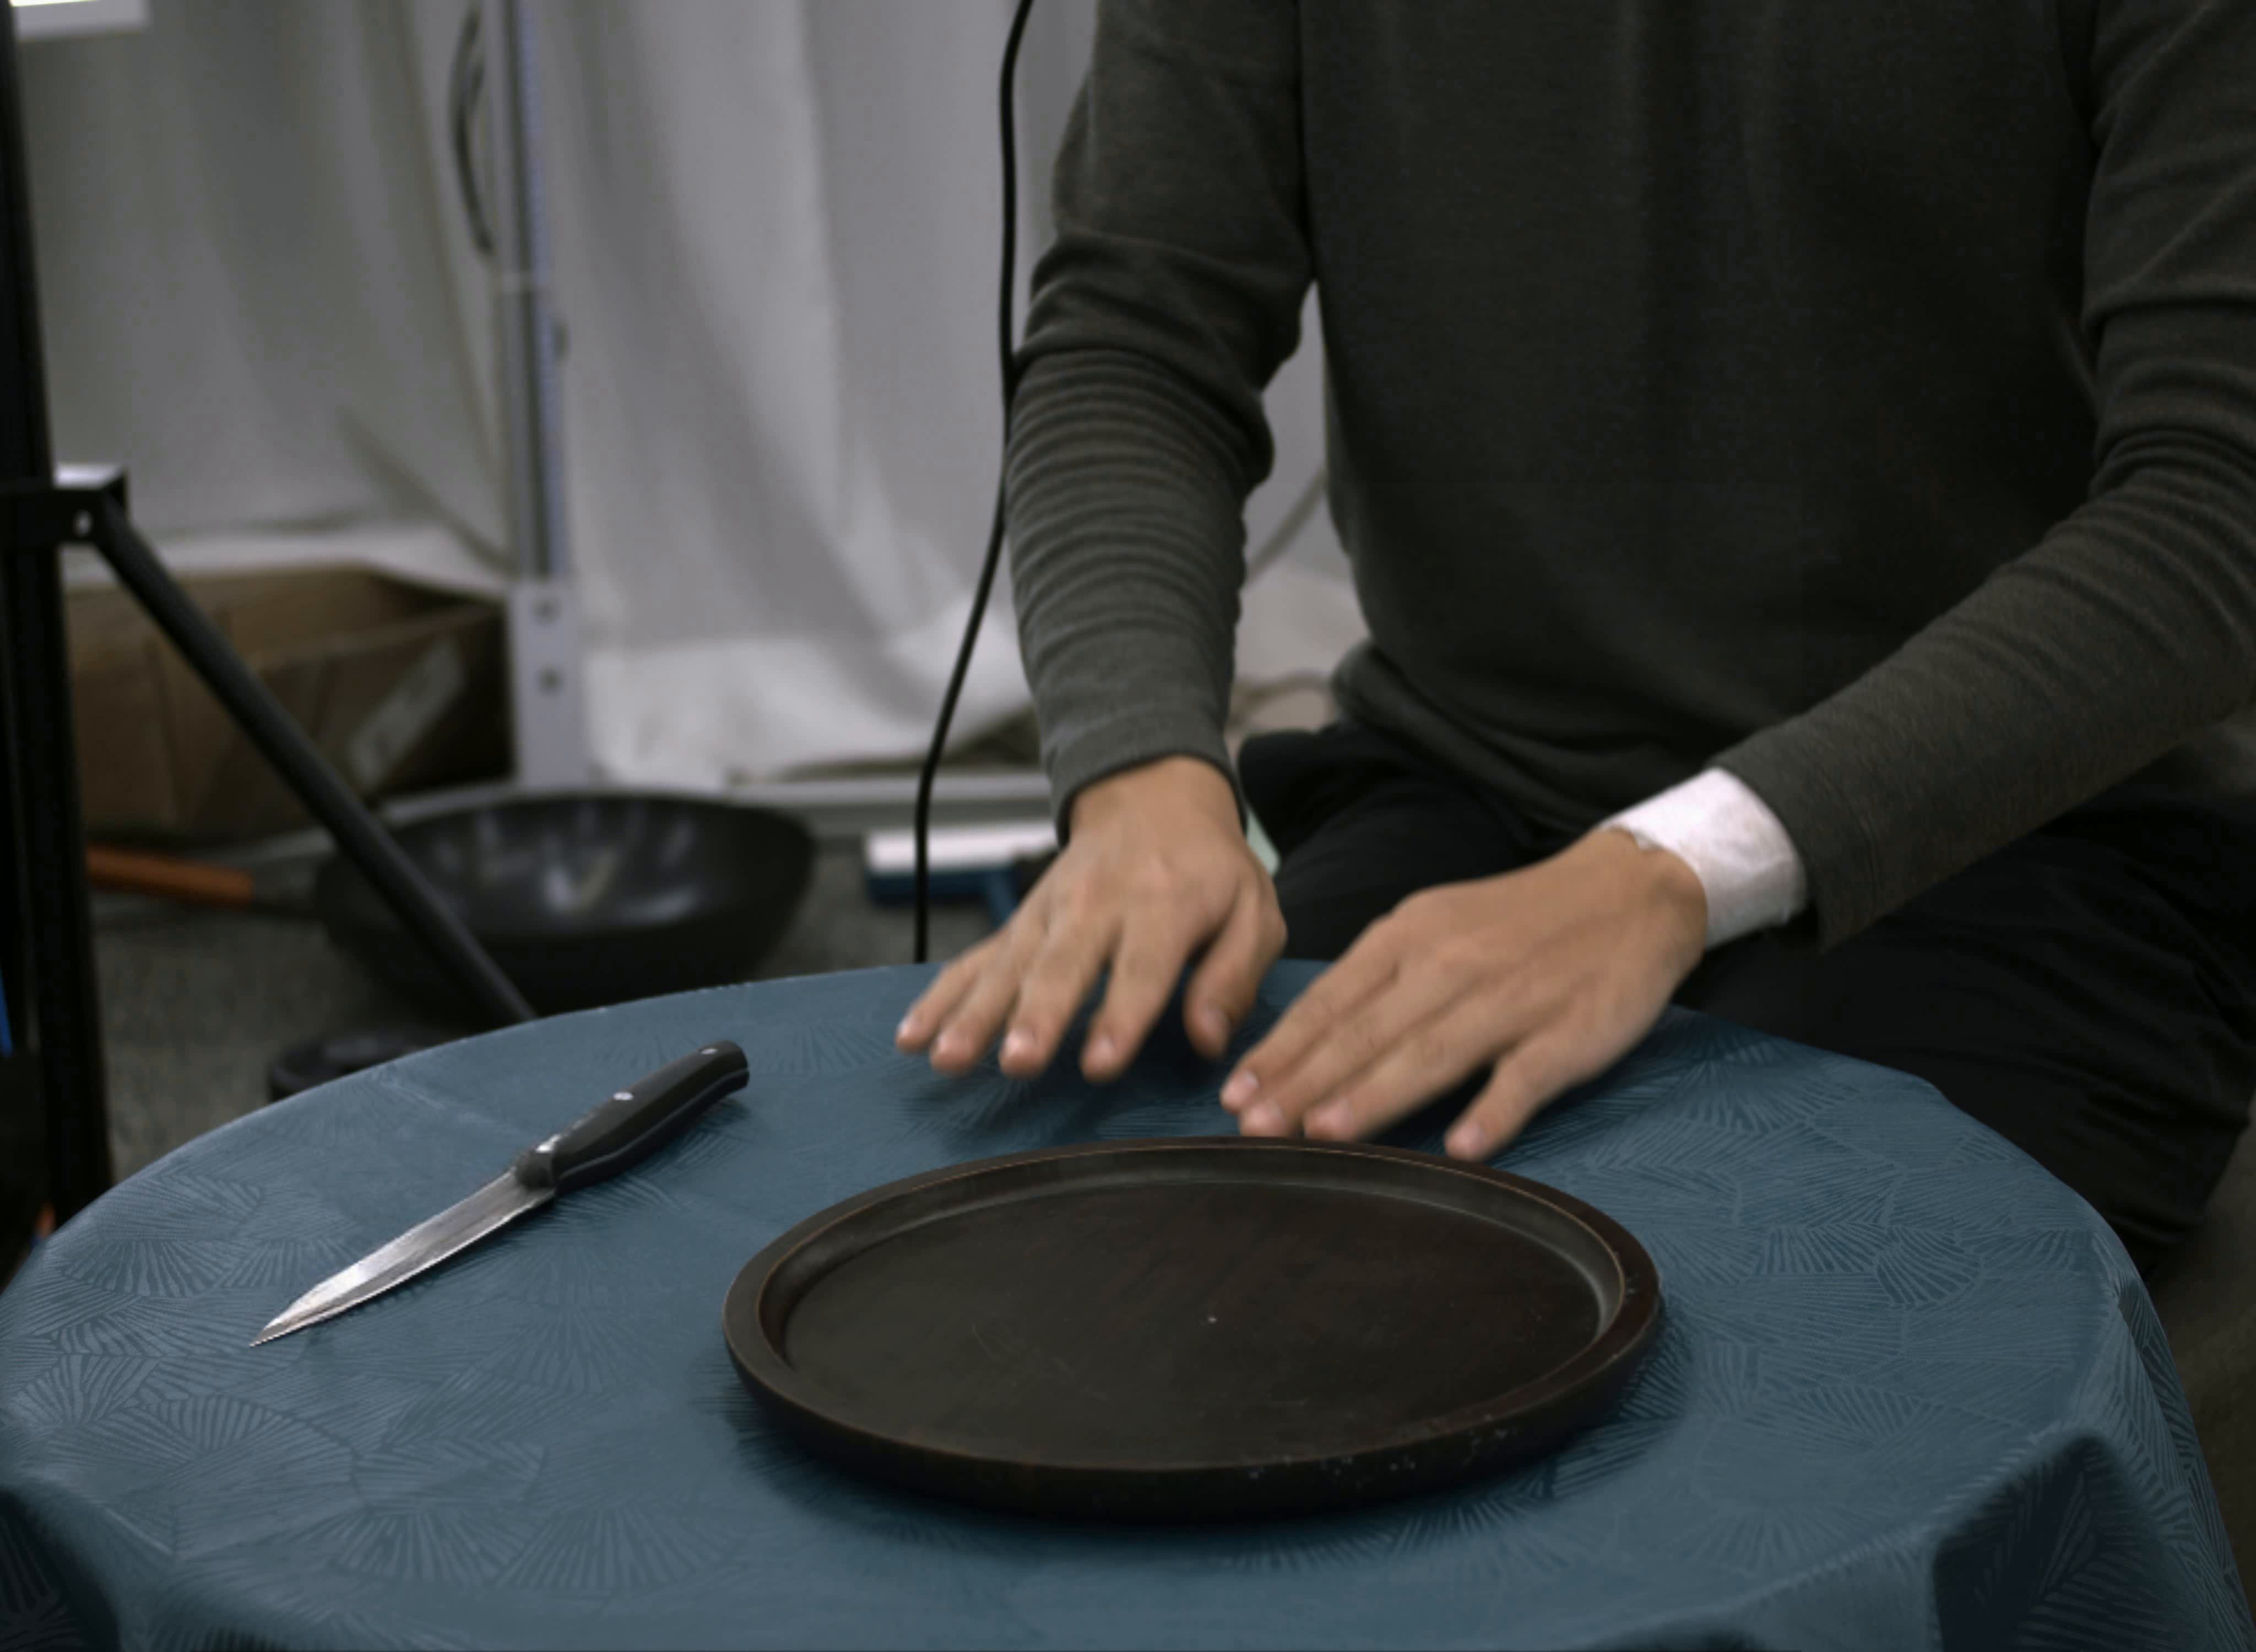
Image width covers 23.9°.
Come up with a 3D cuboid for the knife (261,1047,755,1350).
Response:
[{"bbox_3d":[-0.182,0.109,1.567,0.025,0.016,0.234,7,21,30],"label":"knife"}]

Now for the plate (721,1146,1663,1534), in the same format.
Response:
[{"bbox_3d":[0.017,0.134,1.424,0.253,0.029,0.256,-2,17,-1],"label":"plate"}]
